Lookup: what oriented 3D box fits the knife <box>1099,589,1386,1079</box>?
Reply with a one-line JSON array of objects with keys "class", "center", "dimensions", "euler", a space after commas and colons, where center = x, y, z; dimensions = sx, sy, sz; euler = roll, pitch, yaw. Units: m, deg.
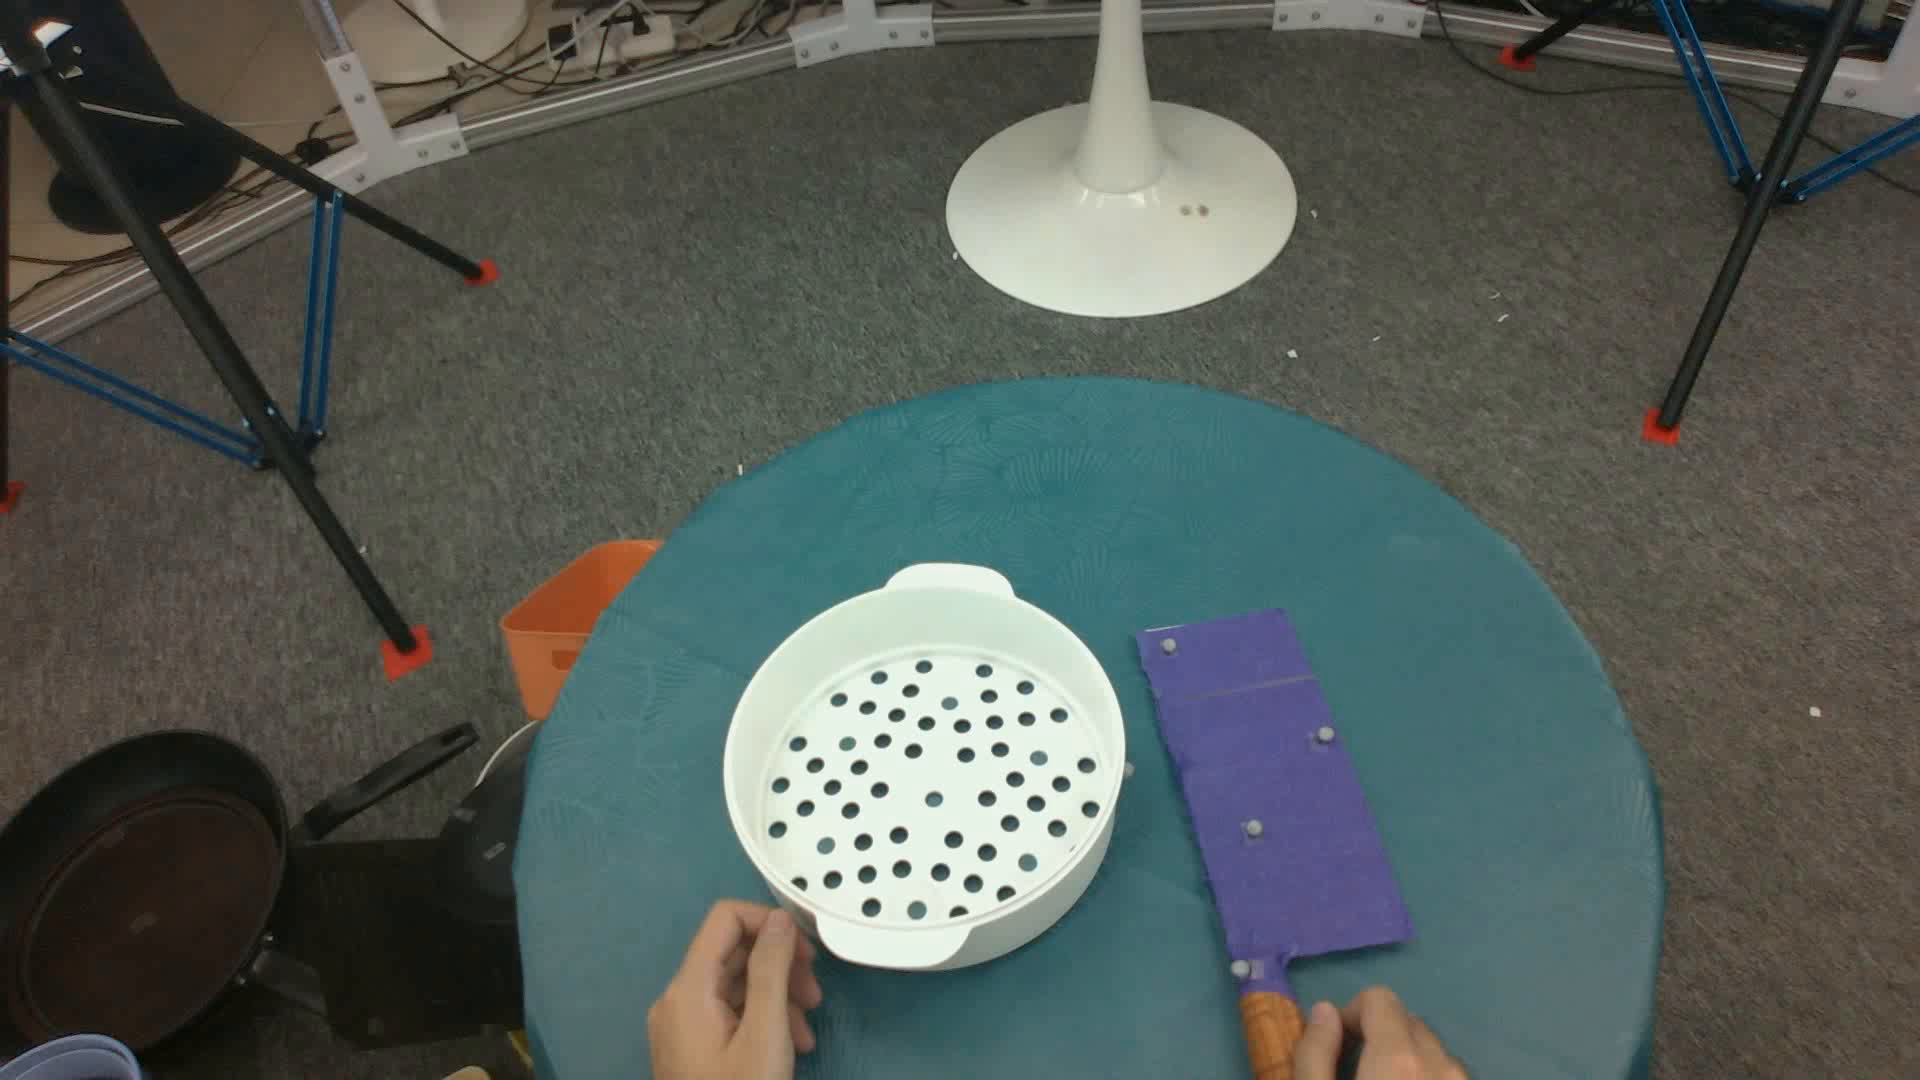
[{"class": "knife", "center": [0.156, 0.147, 0.693], "dimensions": [0.104, 0.032, 0.316], "euler": [-10, 50, -3]}]

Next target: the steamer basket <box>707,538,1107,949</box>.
[{"class": "steamer basket", "center": [-0.025, 0.108, 0.714], "dimensions": [0.202, 0.069, 0.231], "euler": [3, 54, 8]}]
